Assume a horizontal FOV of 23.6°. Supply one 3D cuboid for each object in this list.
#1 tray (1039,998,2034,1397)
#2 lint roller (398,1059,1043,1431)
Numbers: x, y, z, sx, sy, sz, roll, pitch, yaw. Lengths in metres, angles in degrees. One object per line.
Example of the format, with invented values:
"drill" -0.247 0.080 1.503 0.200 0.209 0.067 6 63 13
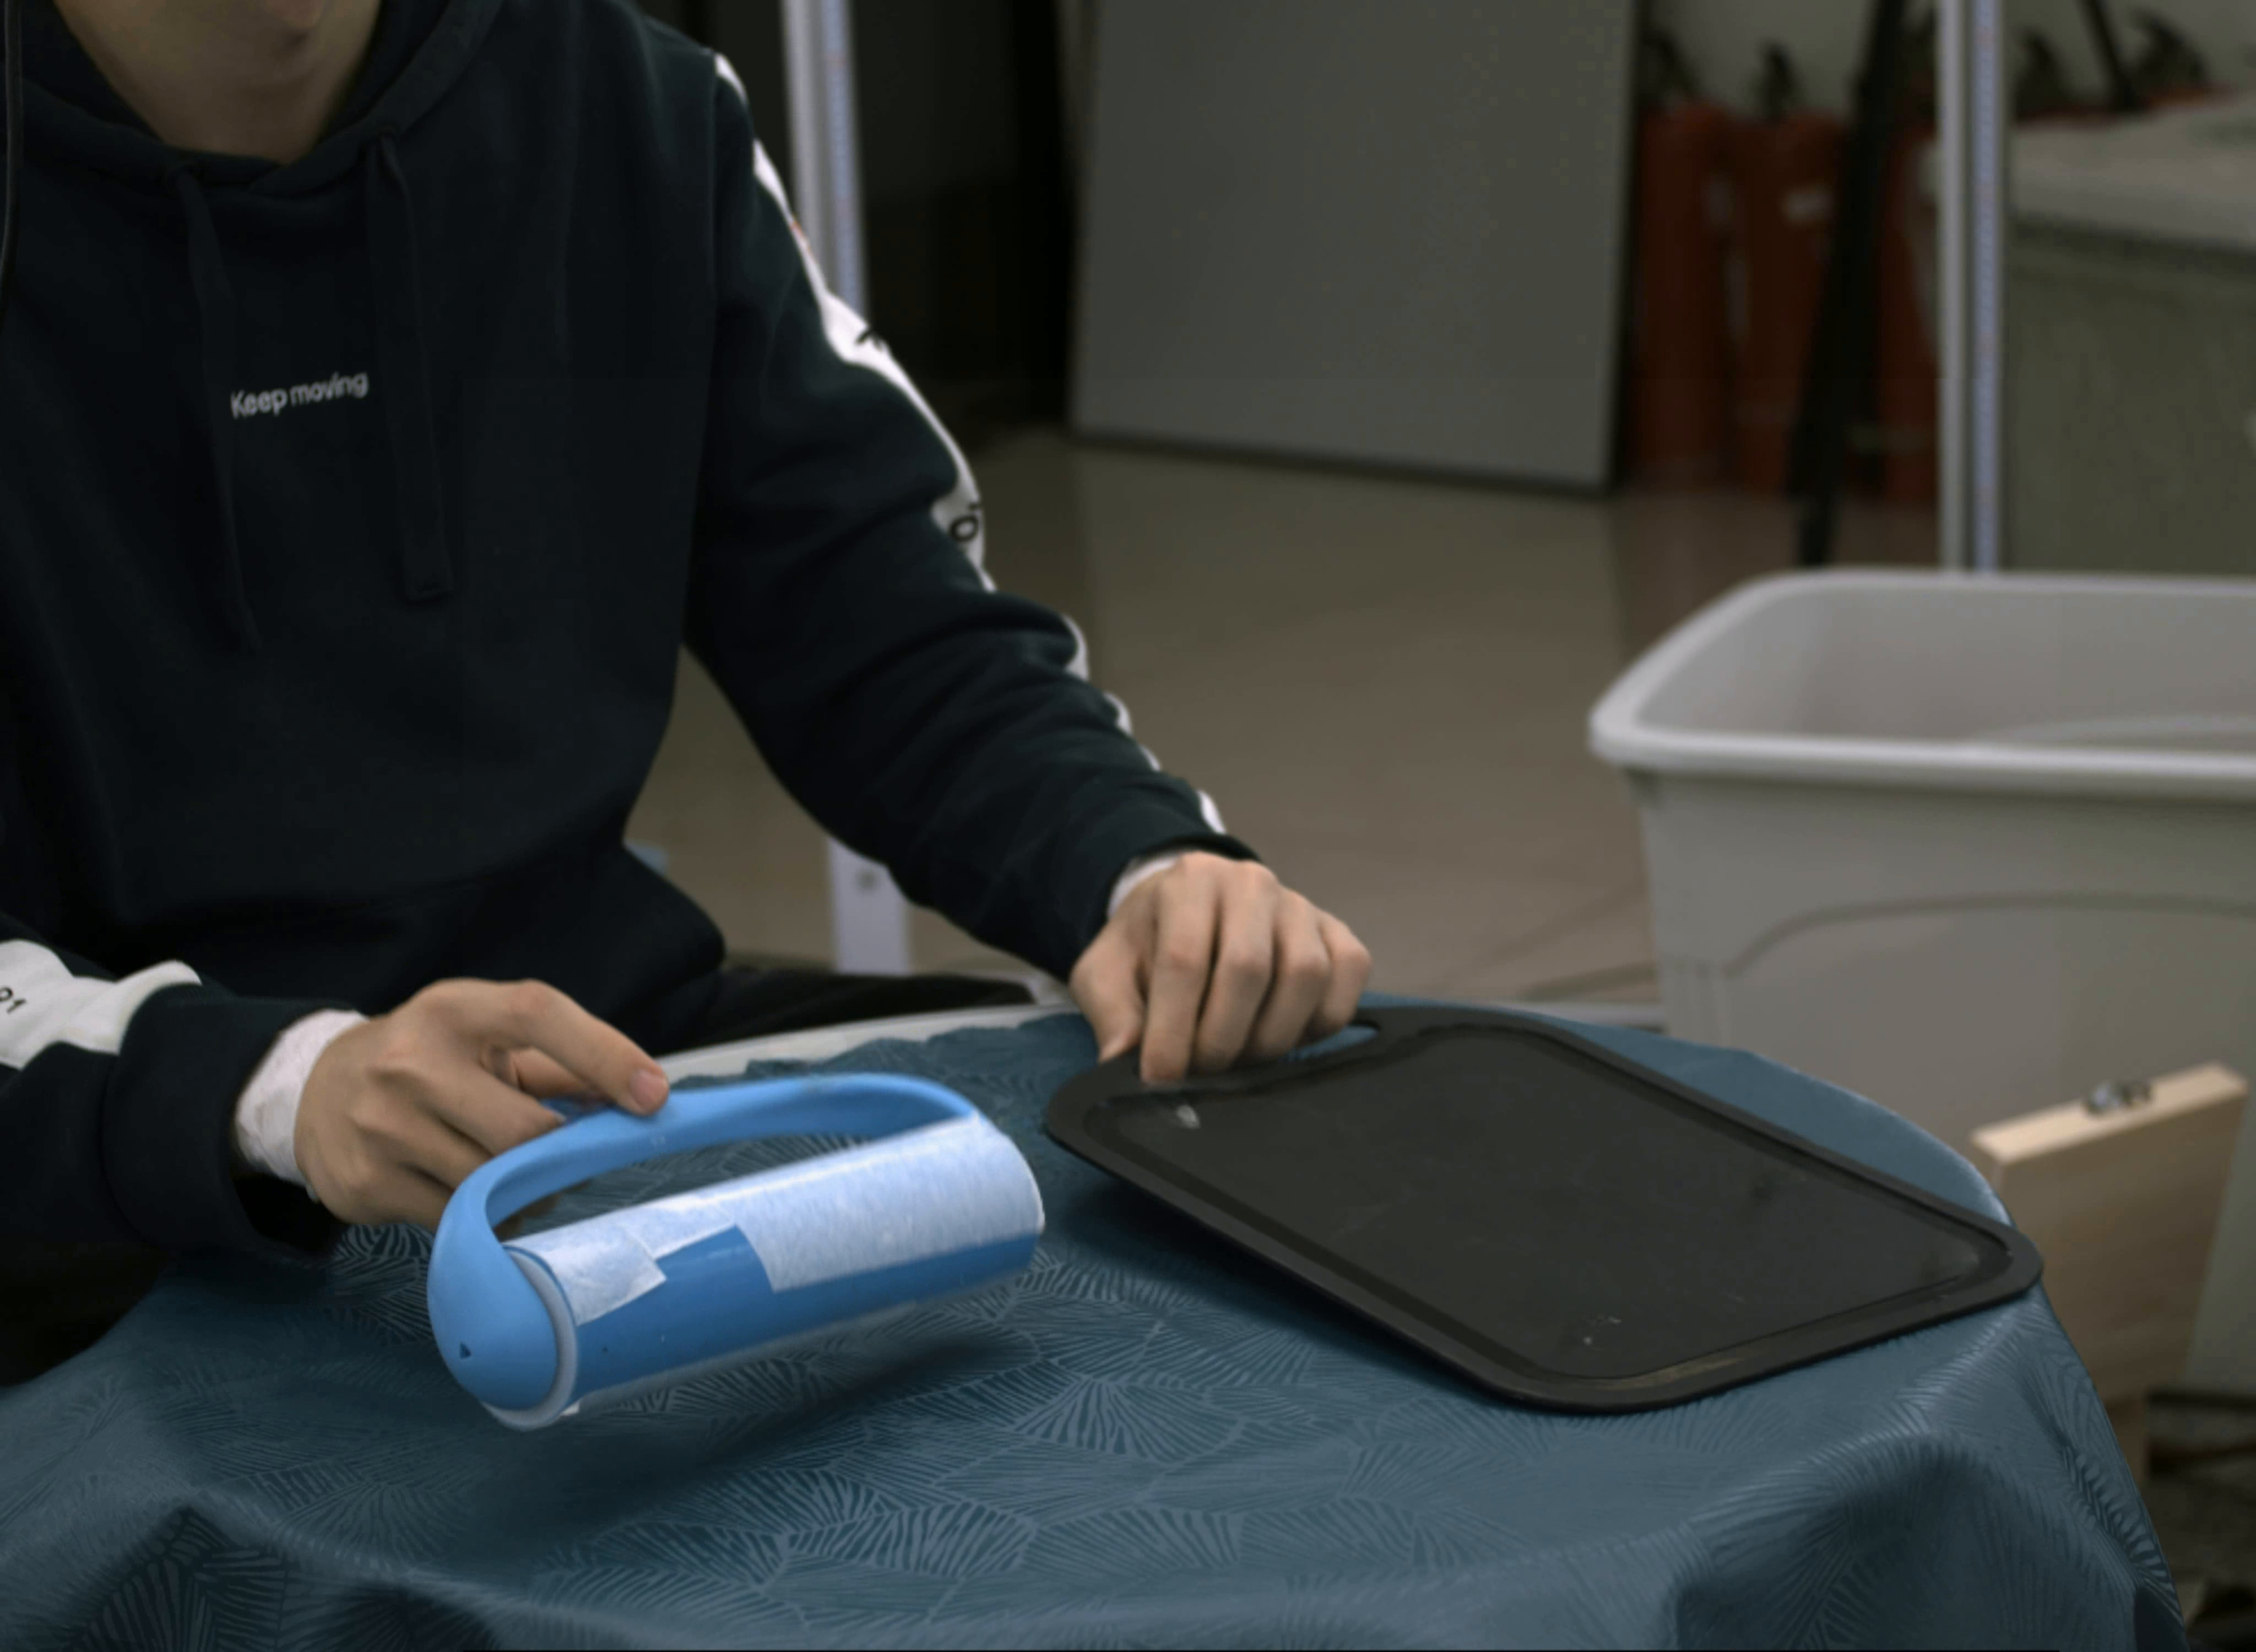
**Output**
"tray" 0.118 0.109 1.705 0.206 0.010 0.329 -12 21 -31
"lint roller" -0.152 0.110 1.605 0.181 0.069 0.224 18 23 36
